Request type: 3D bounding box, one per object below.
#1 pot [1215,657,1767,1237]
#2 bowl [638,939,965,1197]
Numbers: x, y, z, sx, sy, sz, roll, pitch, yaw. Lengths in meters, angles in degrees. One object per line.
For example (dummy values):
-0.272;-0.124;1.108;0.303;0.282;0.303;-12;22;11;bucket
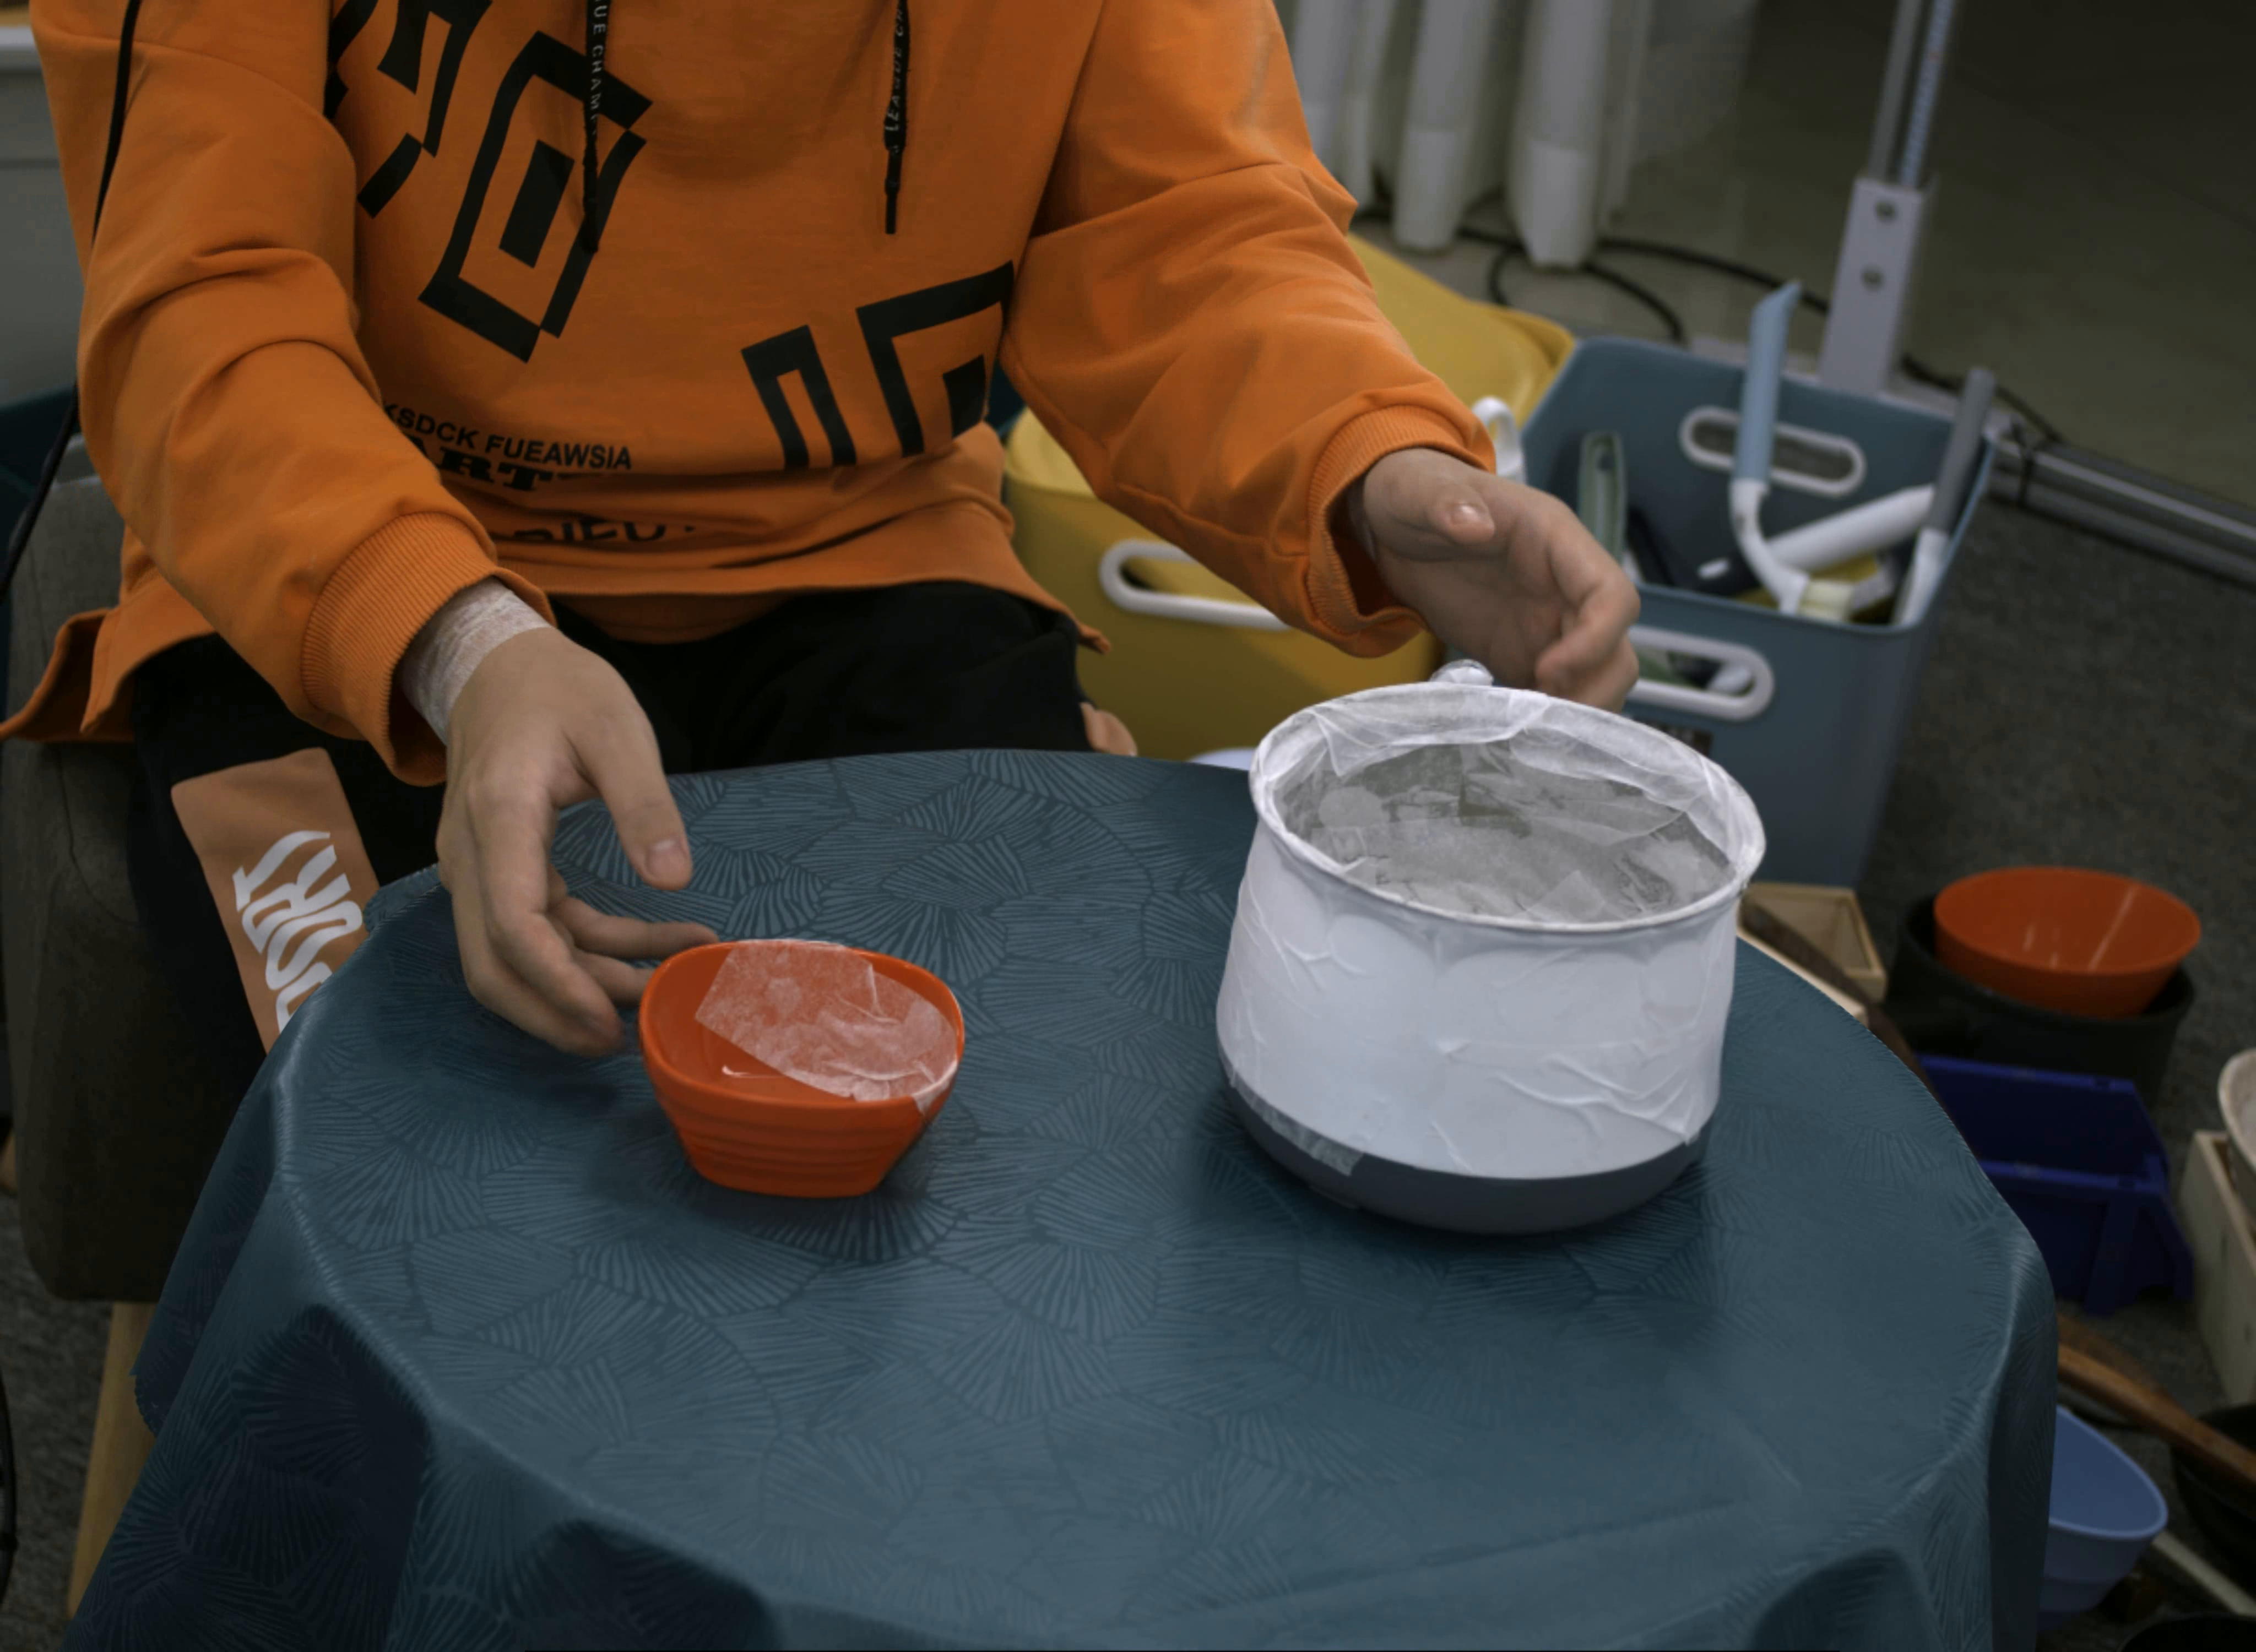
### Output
0.118;0.034;1.853;0.178;0.136;0.235;3;28;-8;pot
-0.112;0.086;1.795;0.118;0.051;0.119;4;28;-3;bowl
